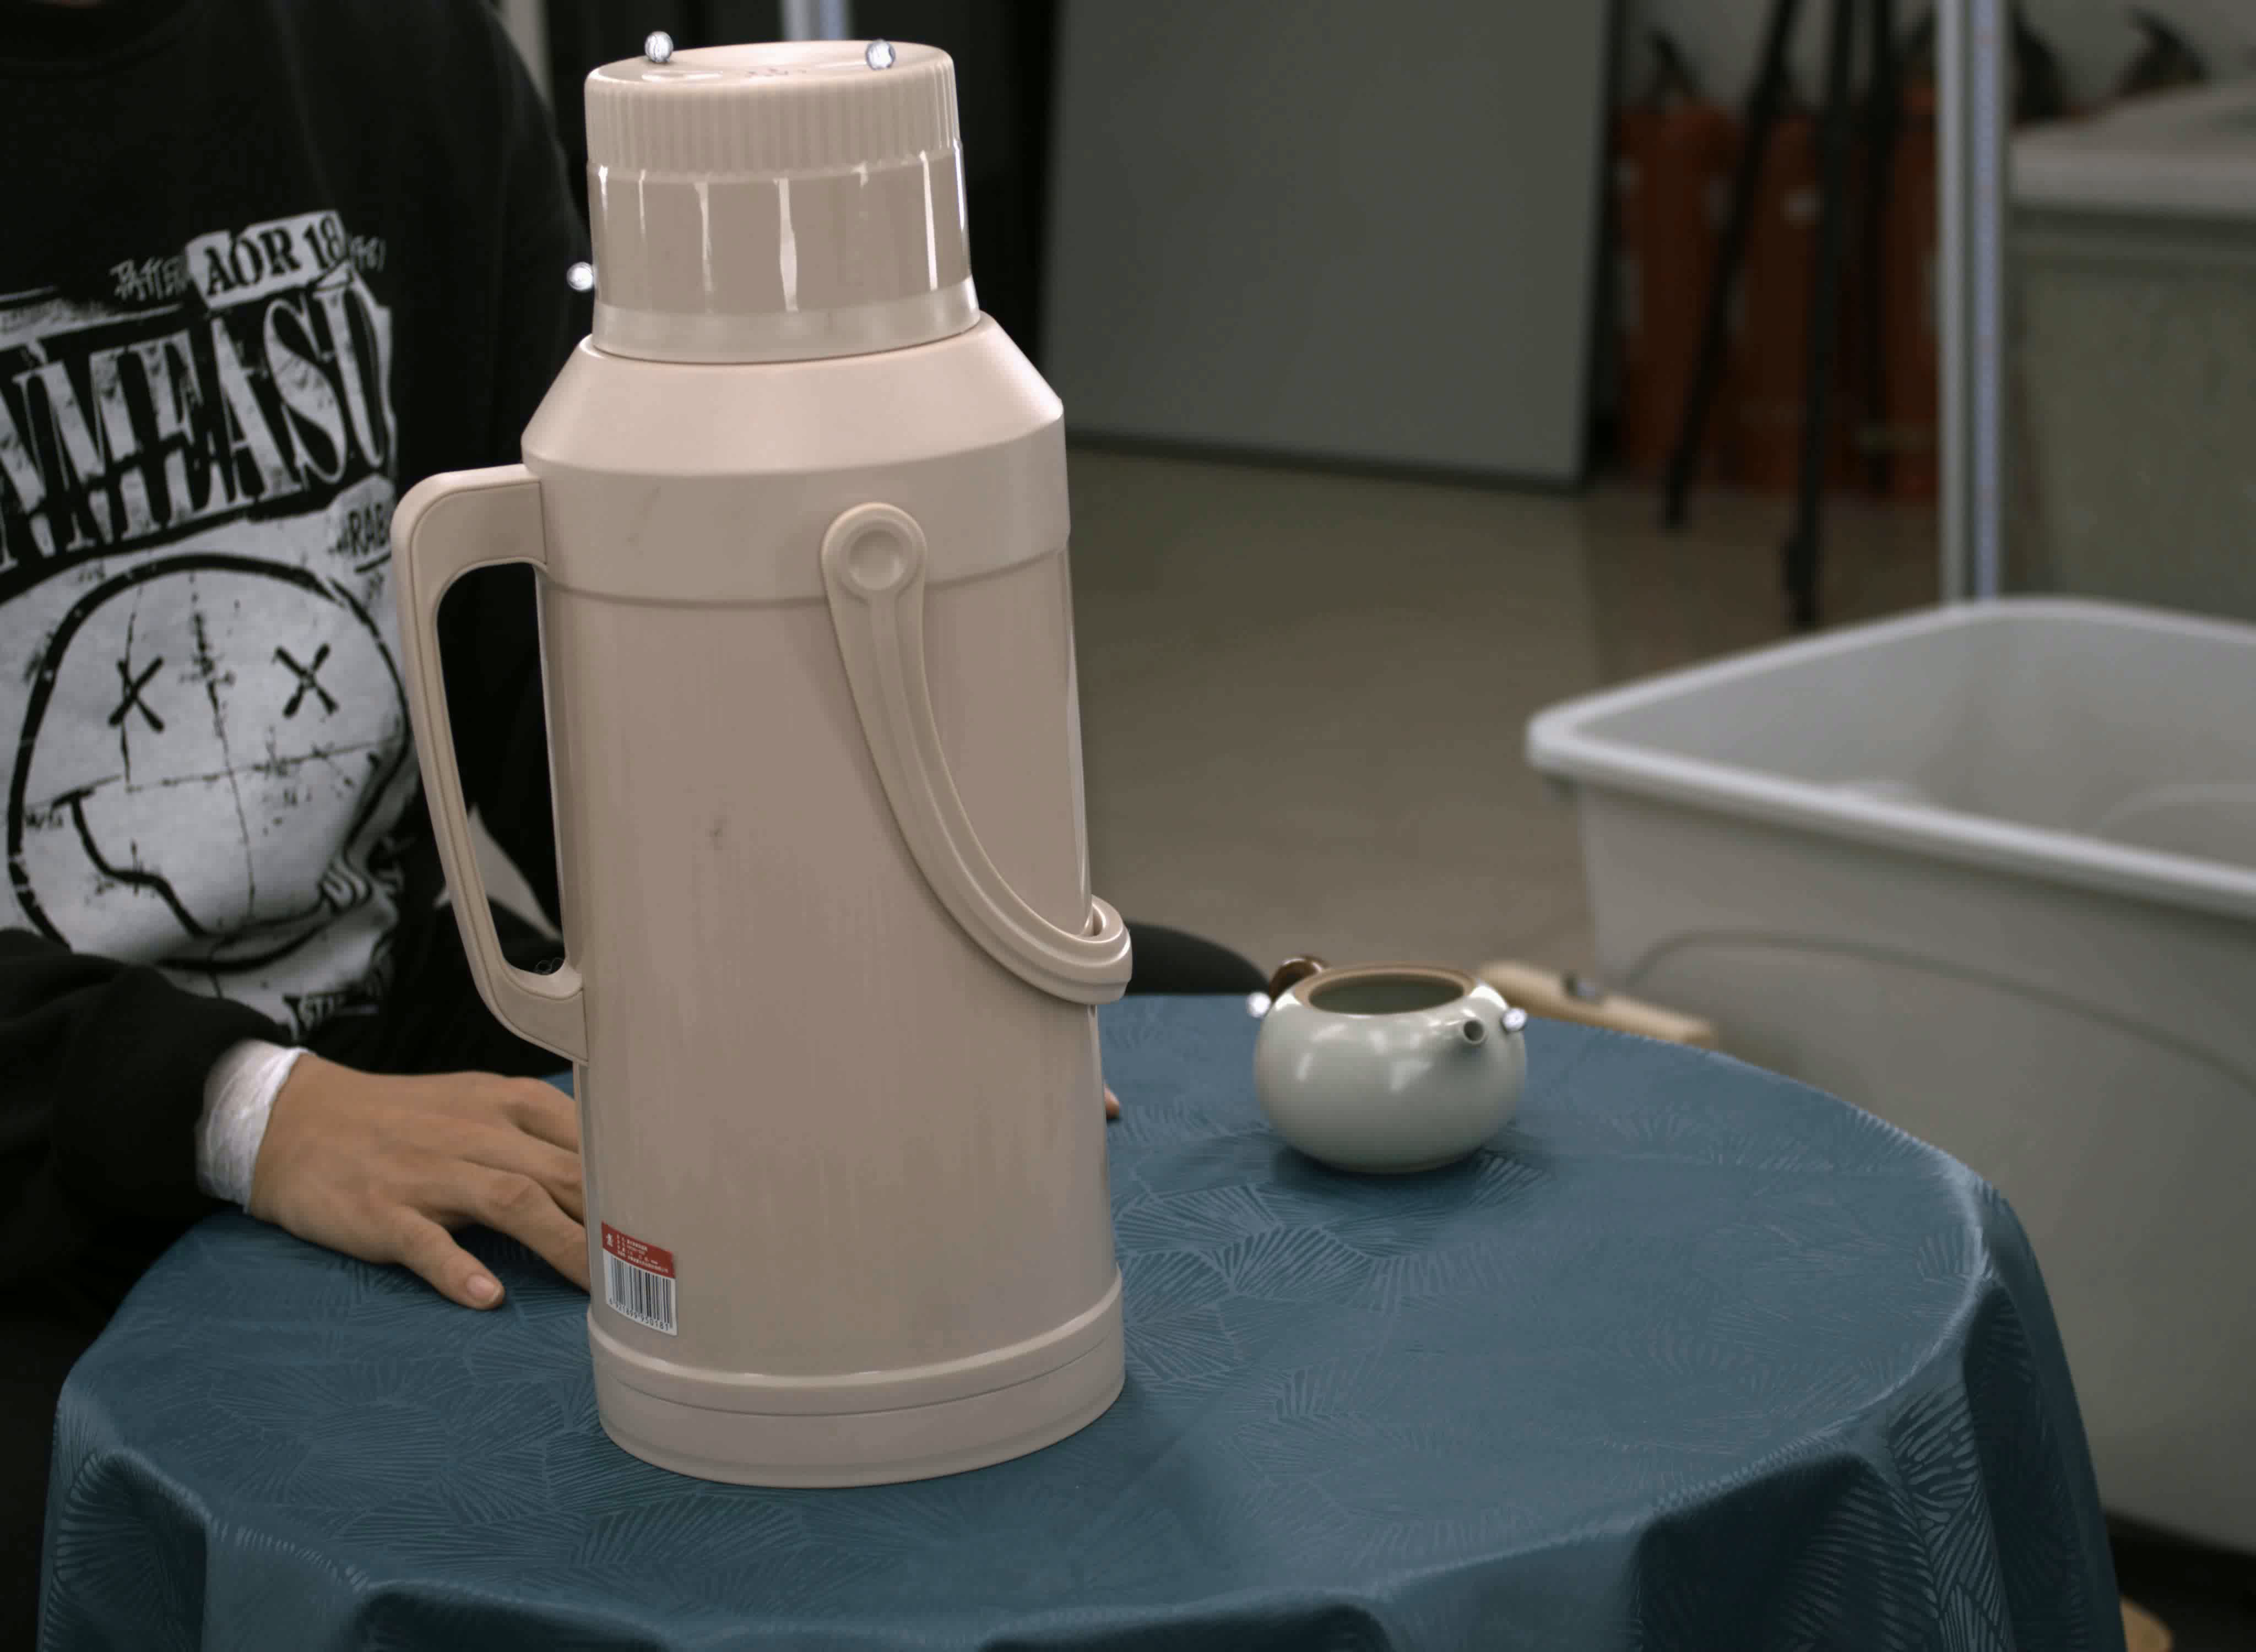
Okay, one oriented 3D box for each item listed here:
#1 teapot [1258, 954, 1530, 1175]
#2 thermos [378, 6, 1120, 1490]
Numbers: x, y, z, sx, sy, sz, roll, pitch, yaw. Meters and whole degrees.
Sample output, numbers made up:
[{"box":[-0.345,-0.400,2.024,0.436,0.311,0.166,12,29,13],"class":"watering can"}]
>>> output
[{"box":[0.083,0.078,1.799,0.090,0.060,0.129,-16,18,-29],"class":"teapot"},{"box":[-0.107,-0.023,1.557,0.203,0.411,0.177,-7,15,-16],"class":"thermos"}]
